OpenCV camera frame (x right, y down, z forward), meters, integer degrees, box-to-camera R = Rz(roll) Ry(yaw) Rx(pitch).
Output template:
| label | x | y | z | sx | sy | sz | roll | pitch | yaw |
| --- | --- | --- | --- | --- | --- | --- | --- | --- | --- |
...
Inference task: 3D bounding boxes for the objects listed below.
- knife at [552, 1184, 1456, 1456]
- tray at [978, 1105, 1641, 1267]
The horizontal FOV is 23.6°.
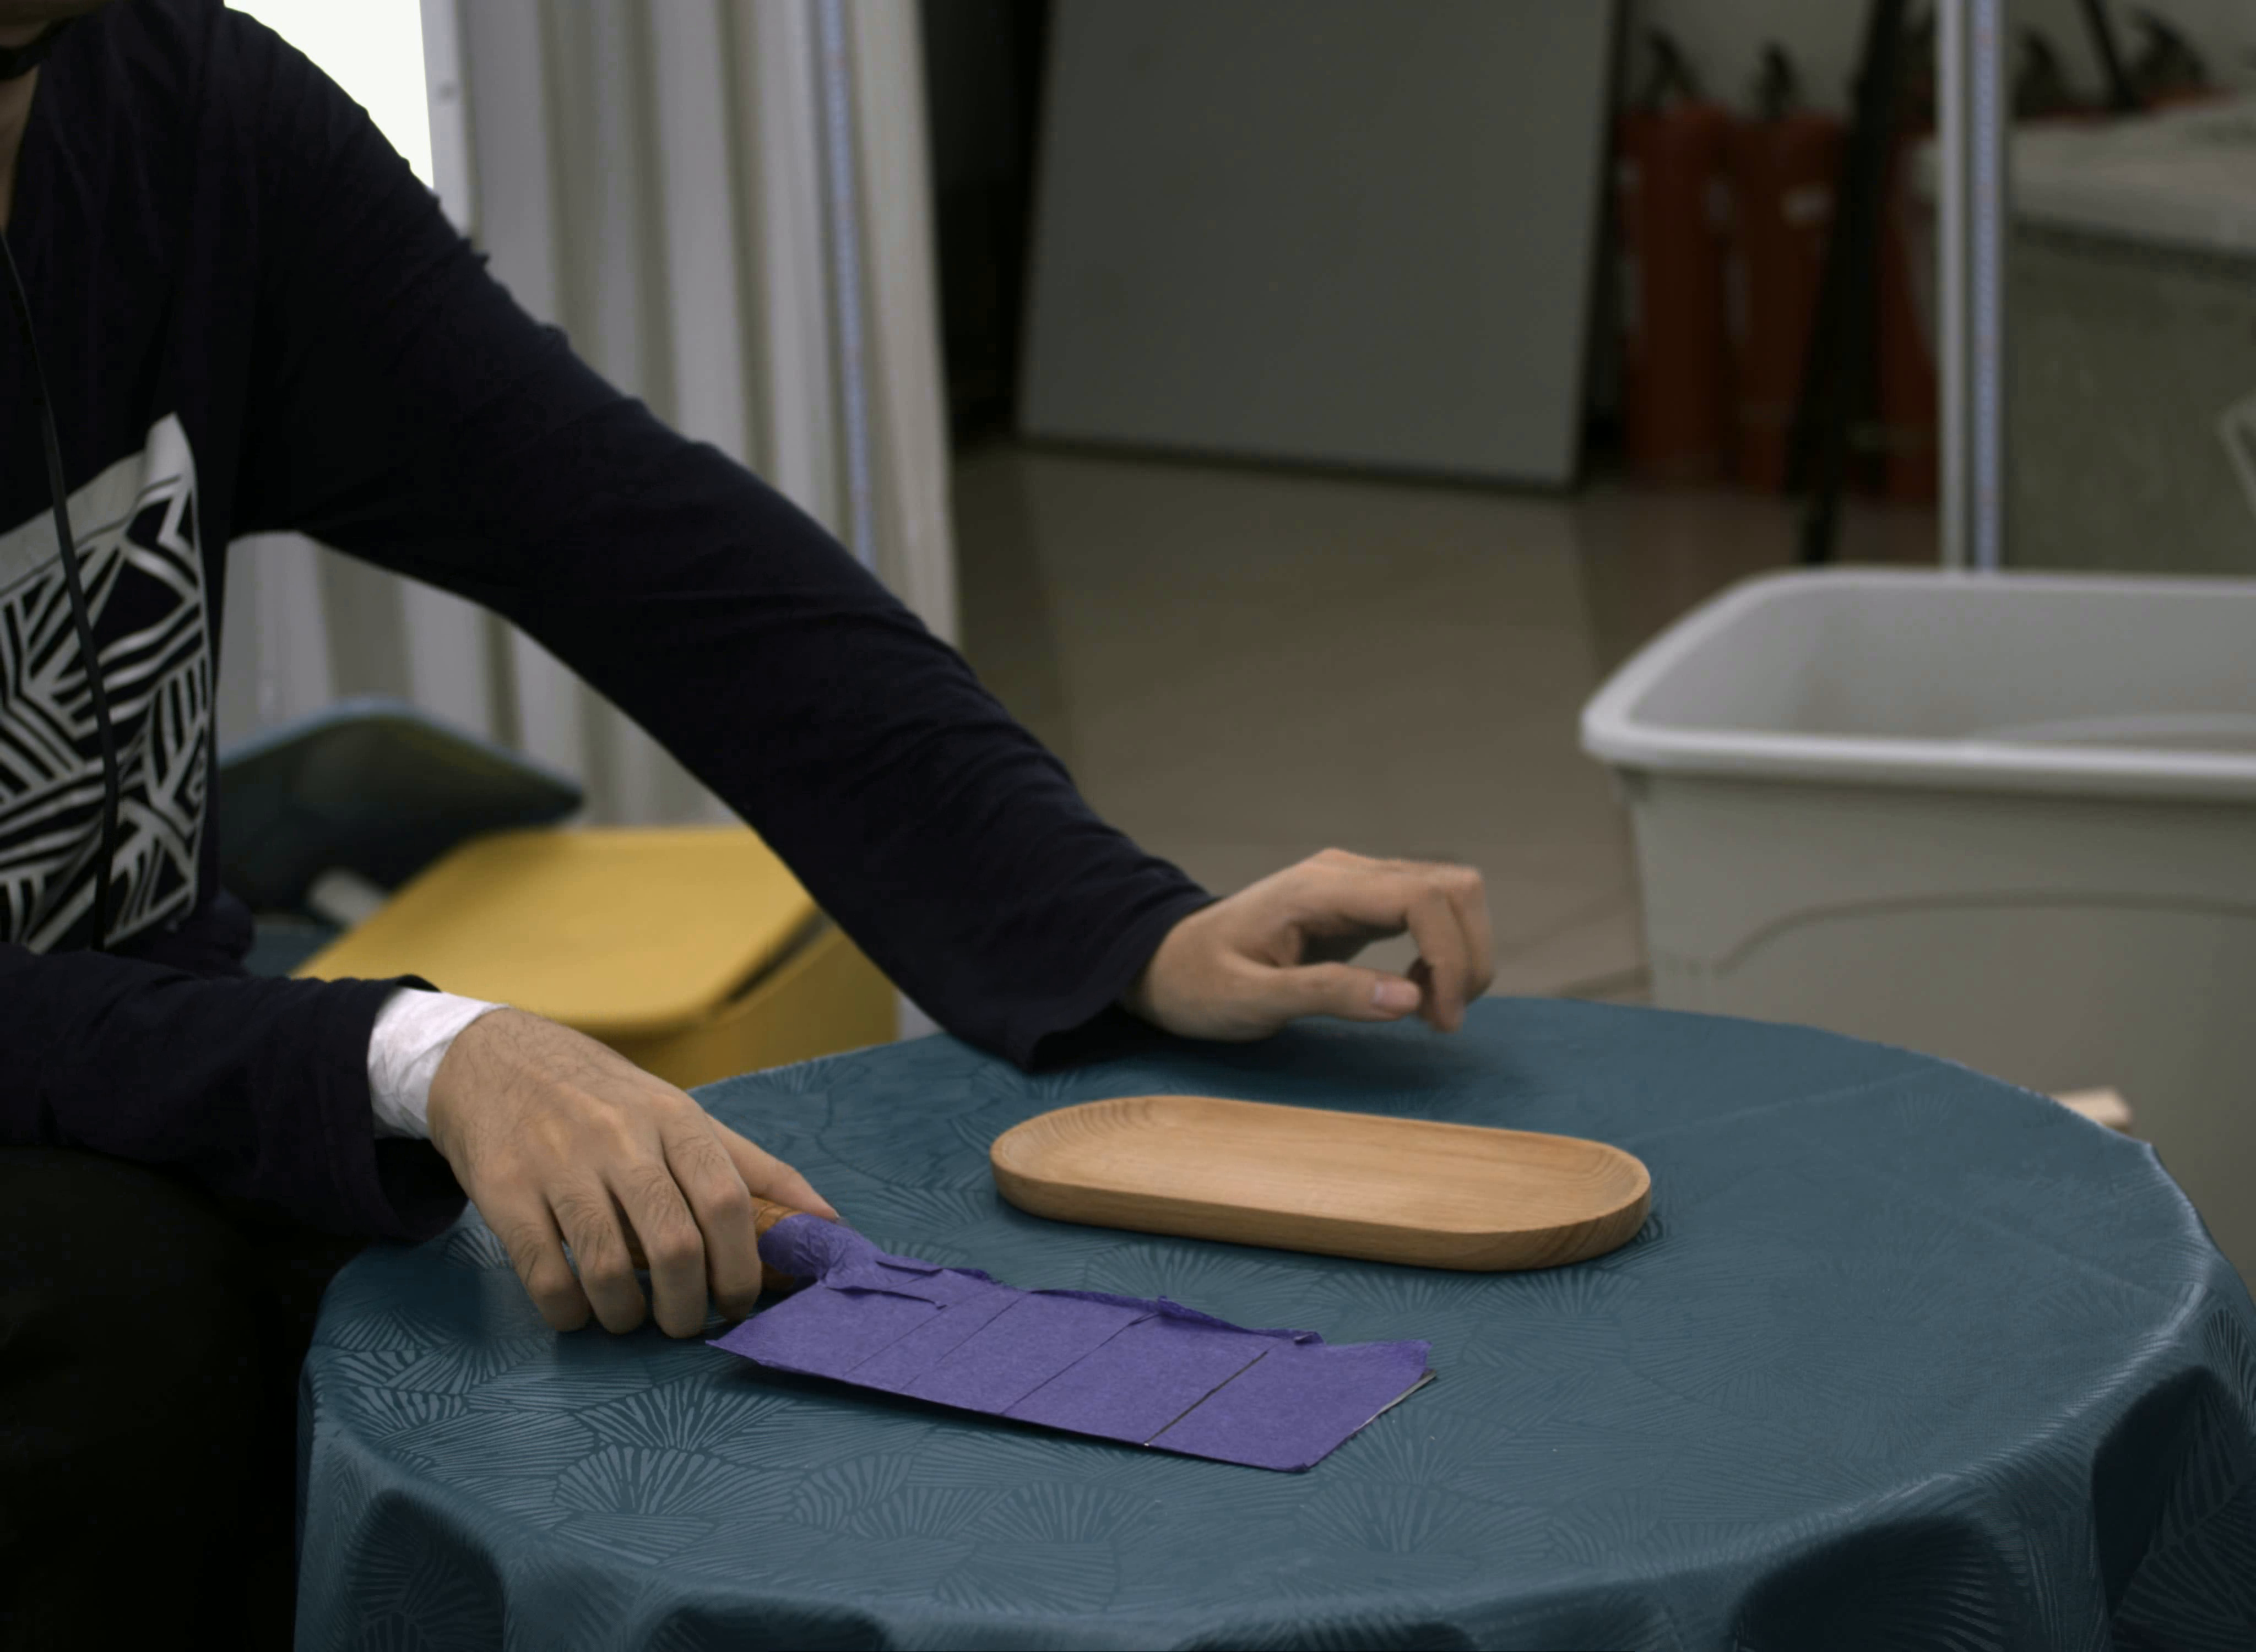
| label | x | y | z | sx | sy | sz | roll | pitch | yaw |
| --- | --- | --- | --- | --- | --- | --- | --- | --- | --- |
| knife | -0.059 | 0.148 | 1.626 | 0.317 | 0.032 | 0.102 | 5 | 16 | 32 |
| tray | 0.057 | 0.116 | 1.746 | 0.232 | 0.020 | 0.100 | 2 | 13 | 30 |
